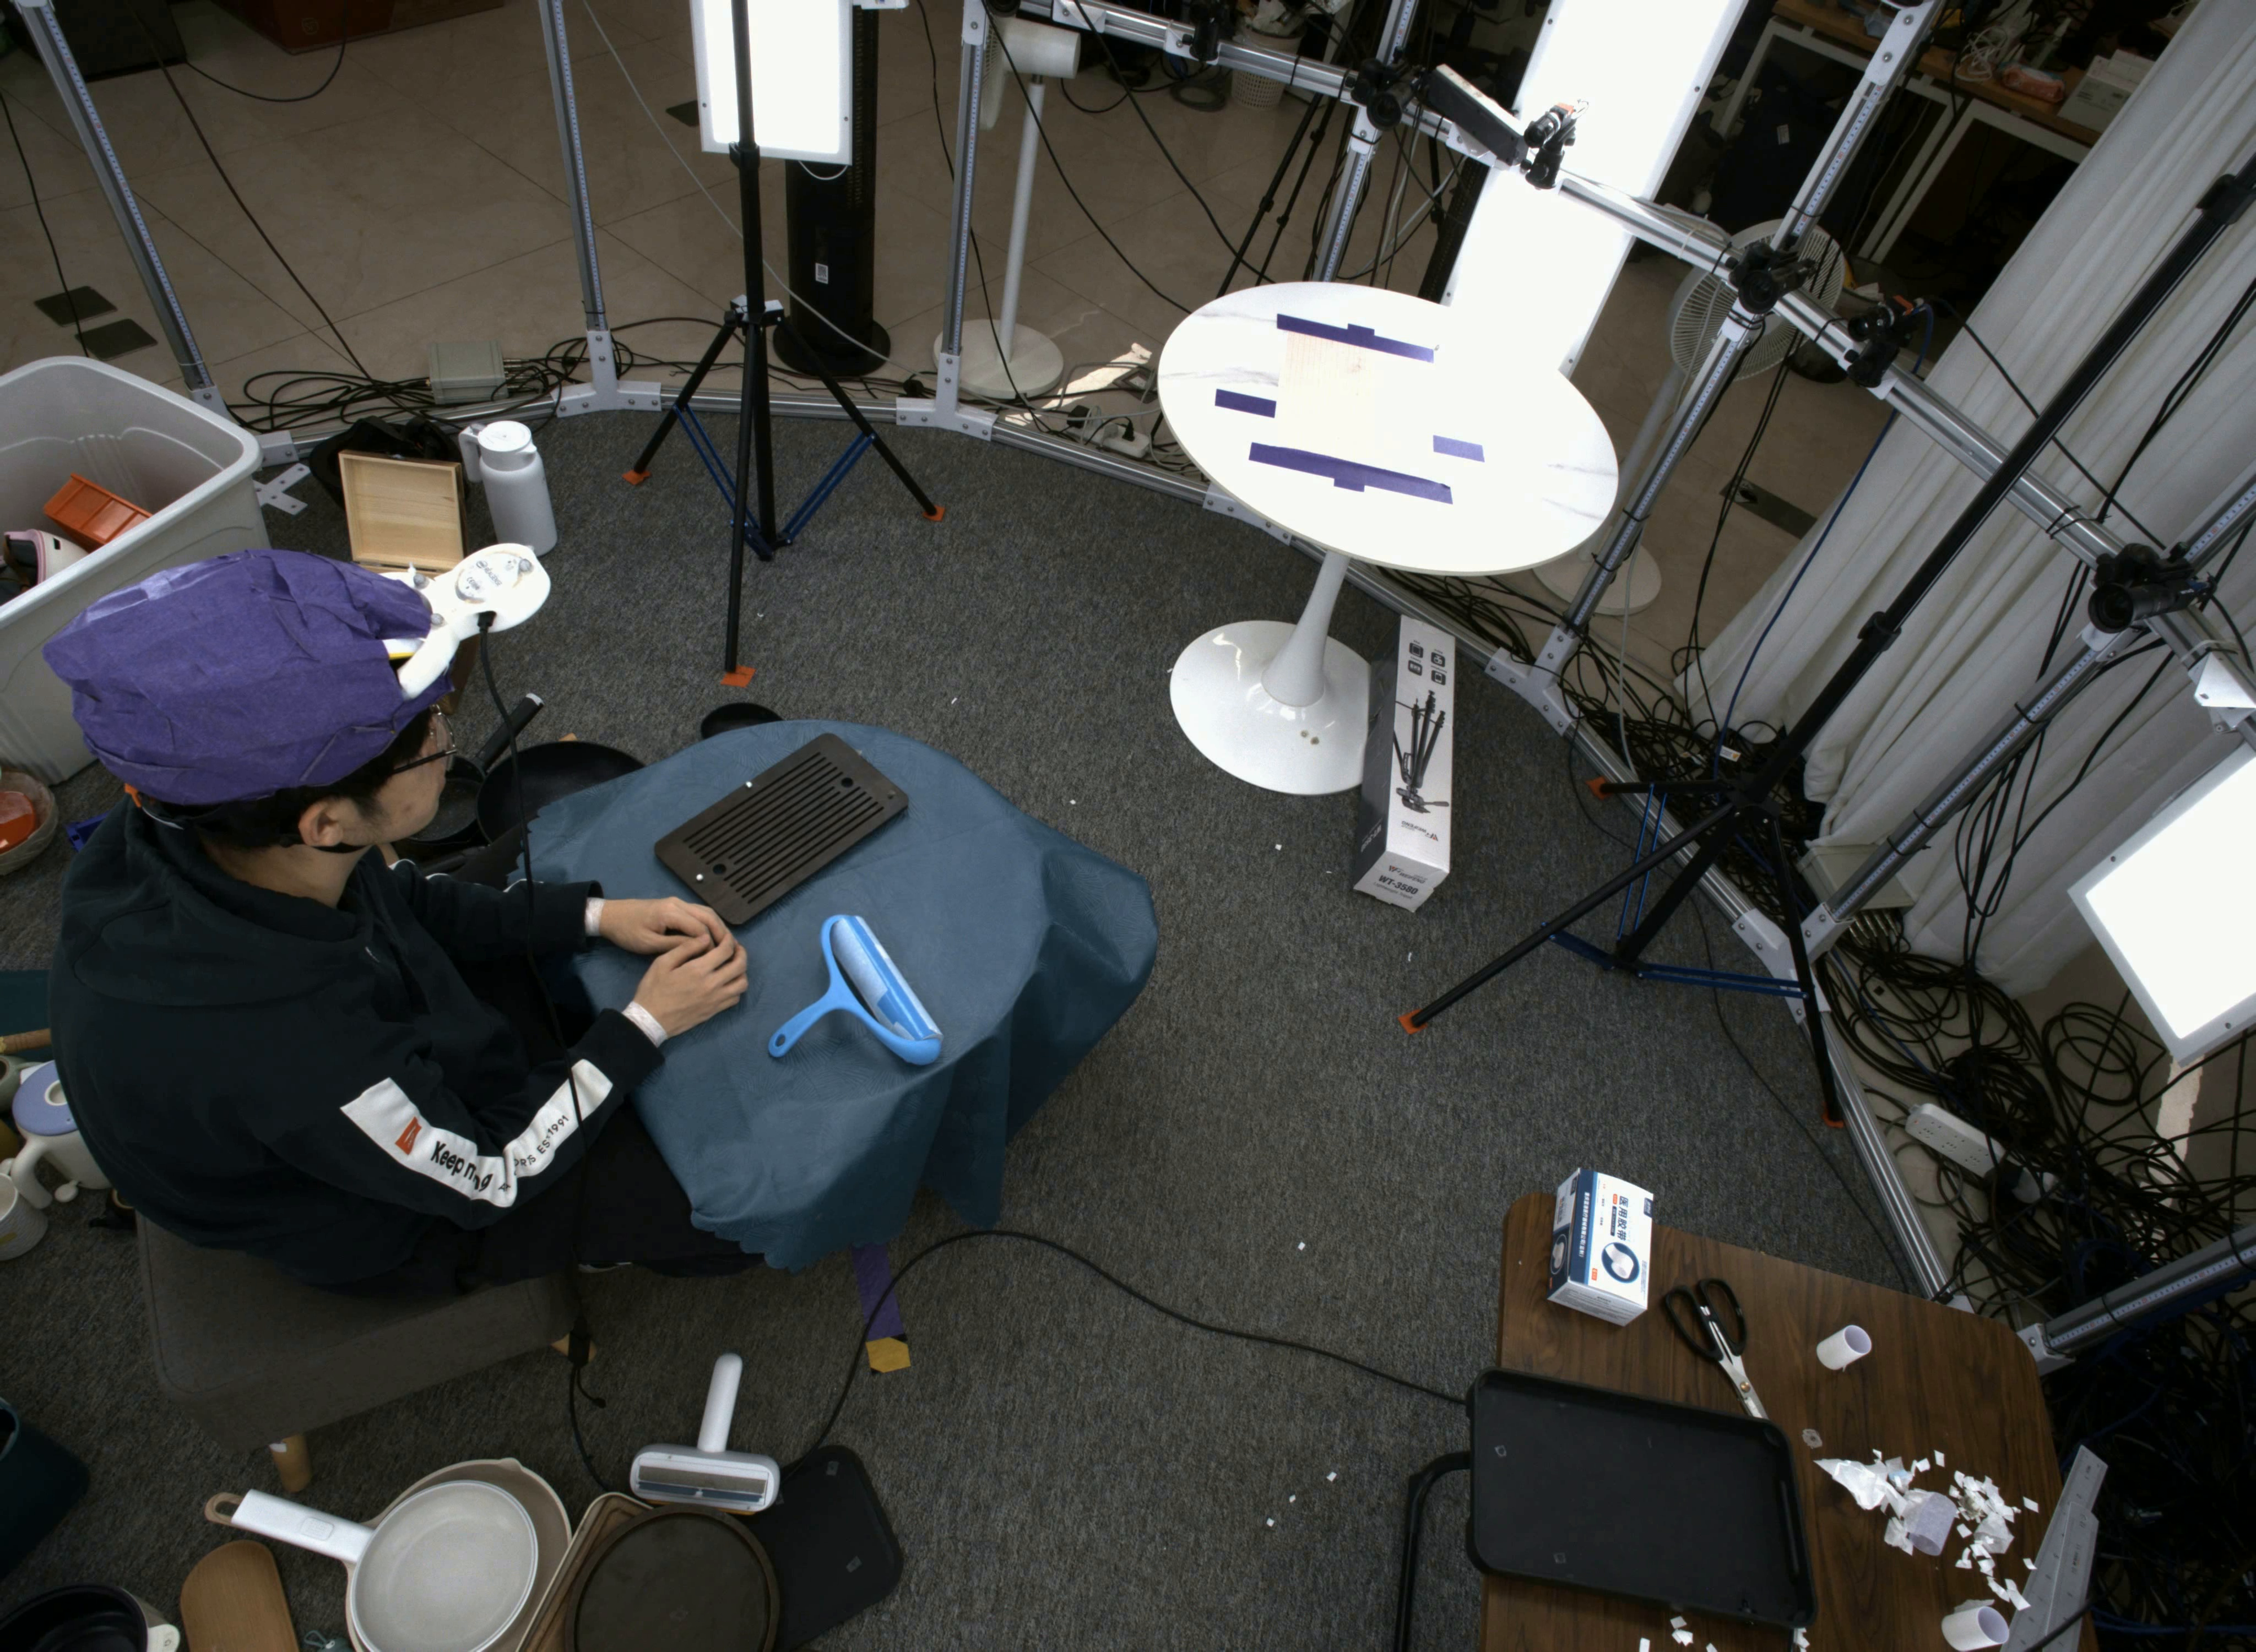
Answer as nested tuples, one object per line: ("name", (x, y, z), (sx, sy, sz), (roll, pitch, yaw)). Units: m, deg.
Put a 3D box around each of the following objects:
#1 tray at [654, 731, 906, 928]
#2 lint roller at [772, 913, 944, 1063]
("tray", (-0.455, -0.001, 1.711), (0.167, 0.019, 0.306), (39, 54, 14))
("lint roller", (-0.343, 0.217, 1.554), (0.181, 0.069, 0.224), (-29, 67, -32))
